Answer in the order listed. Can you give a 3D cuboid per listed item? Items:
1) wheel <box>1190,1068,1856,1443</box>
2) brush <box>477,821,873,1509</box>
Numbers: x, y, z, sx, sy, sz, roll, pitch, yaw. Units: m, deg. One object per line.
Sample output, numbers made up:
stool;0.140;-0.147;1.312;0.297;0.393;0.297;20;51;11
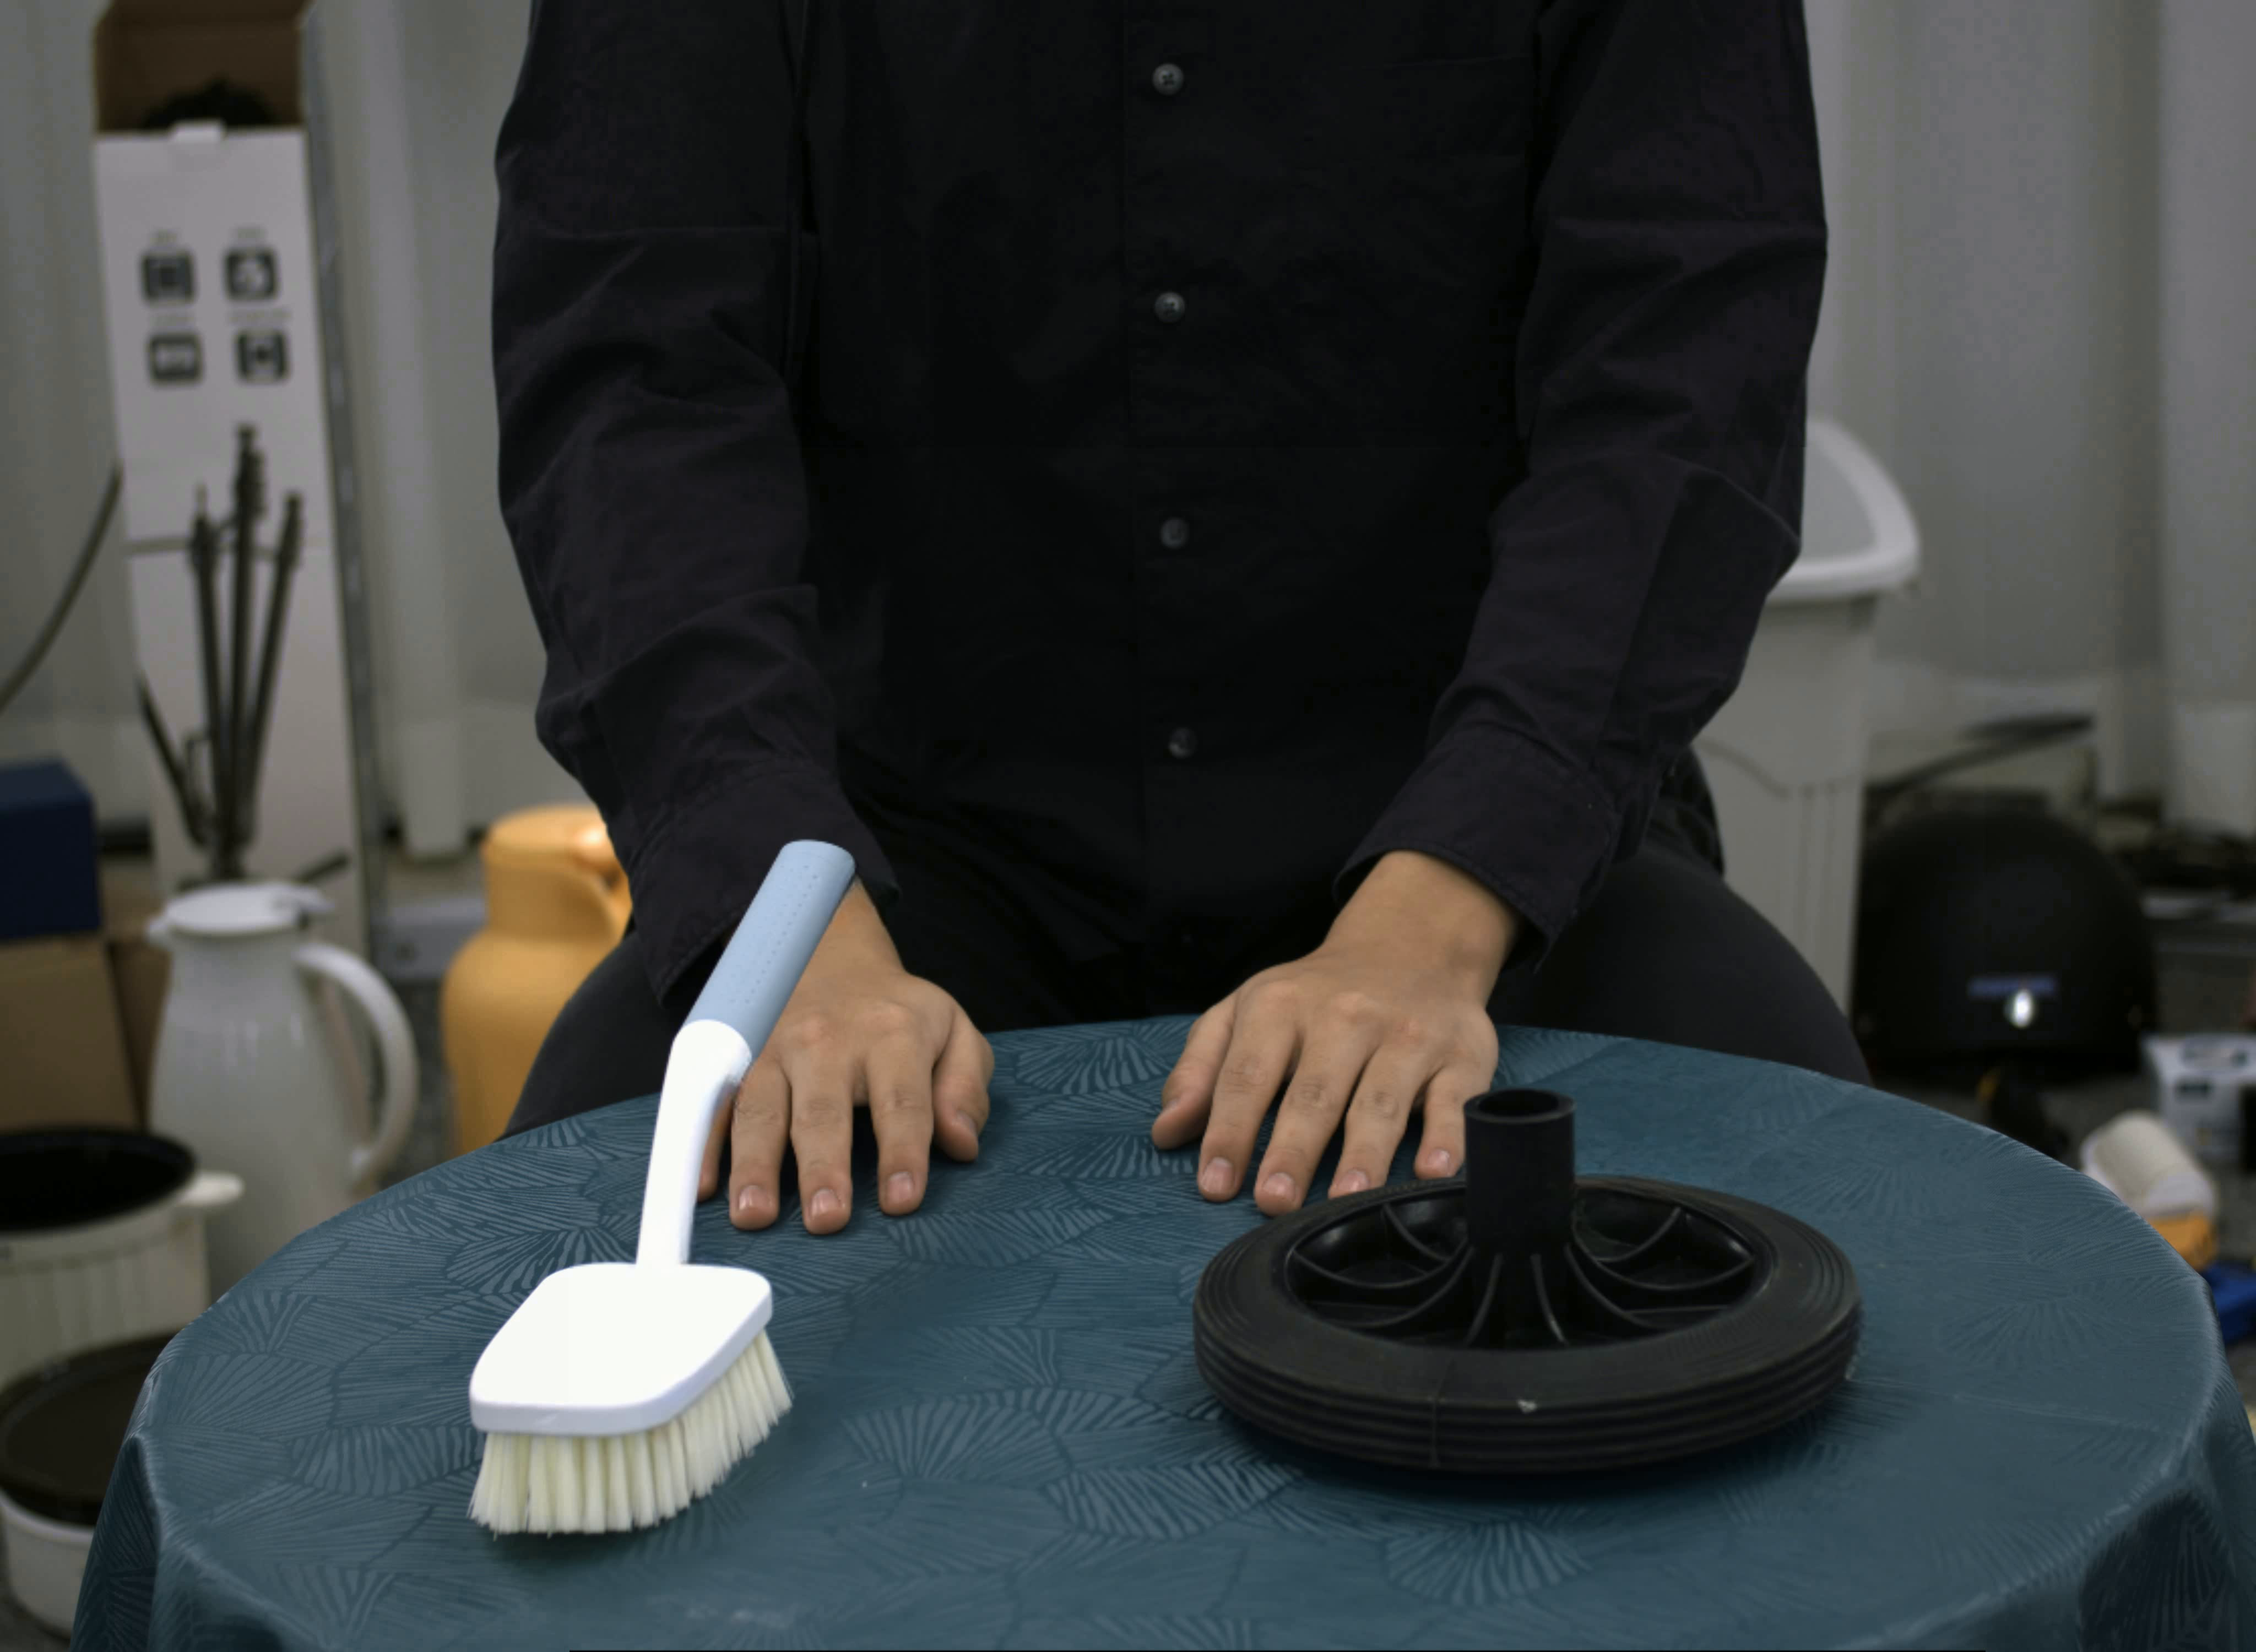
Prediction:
wheel;0.110;0.111;1.550;0.189;0.079;0.189;-8;16;-11
brush;-0.116;0.110;1.595;0.083;0.084;0.328;33;30;-5
